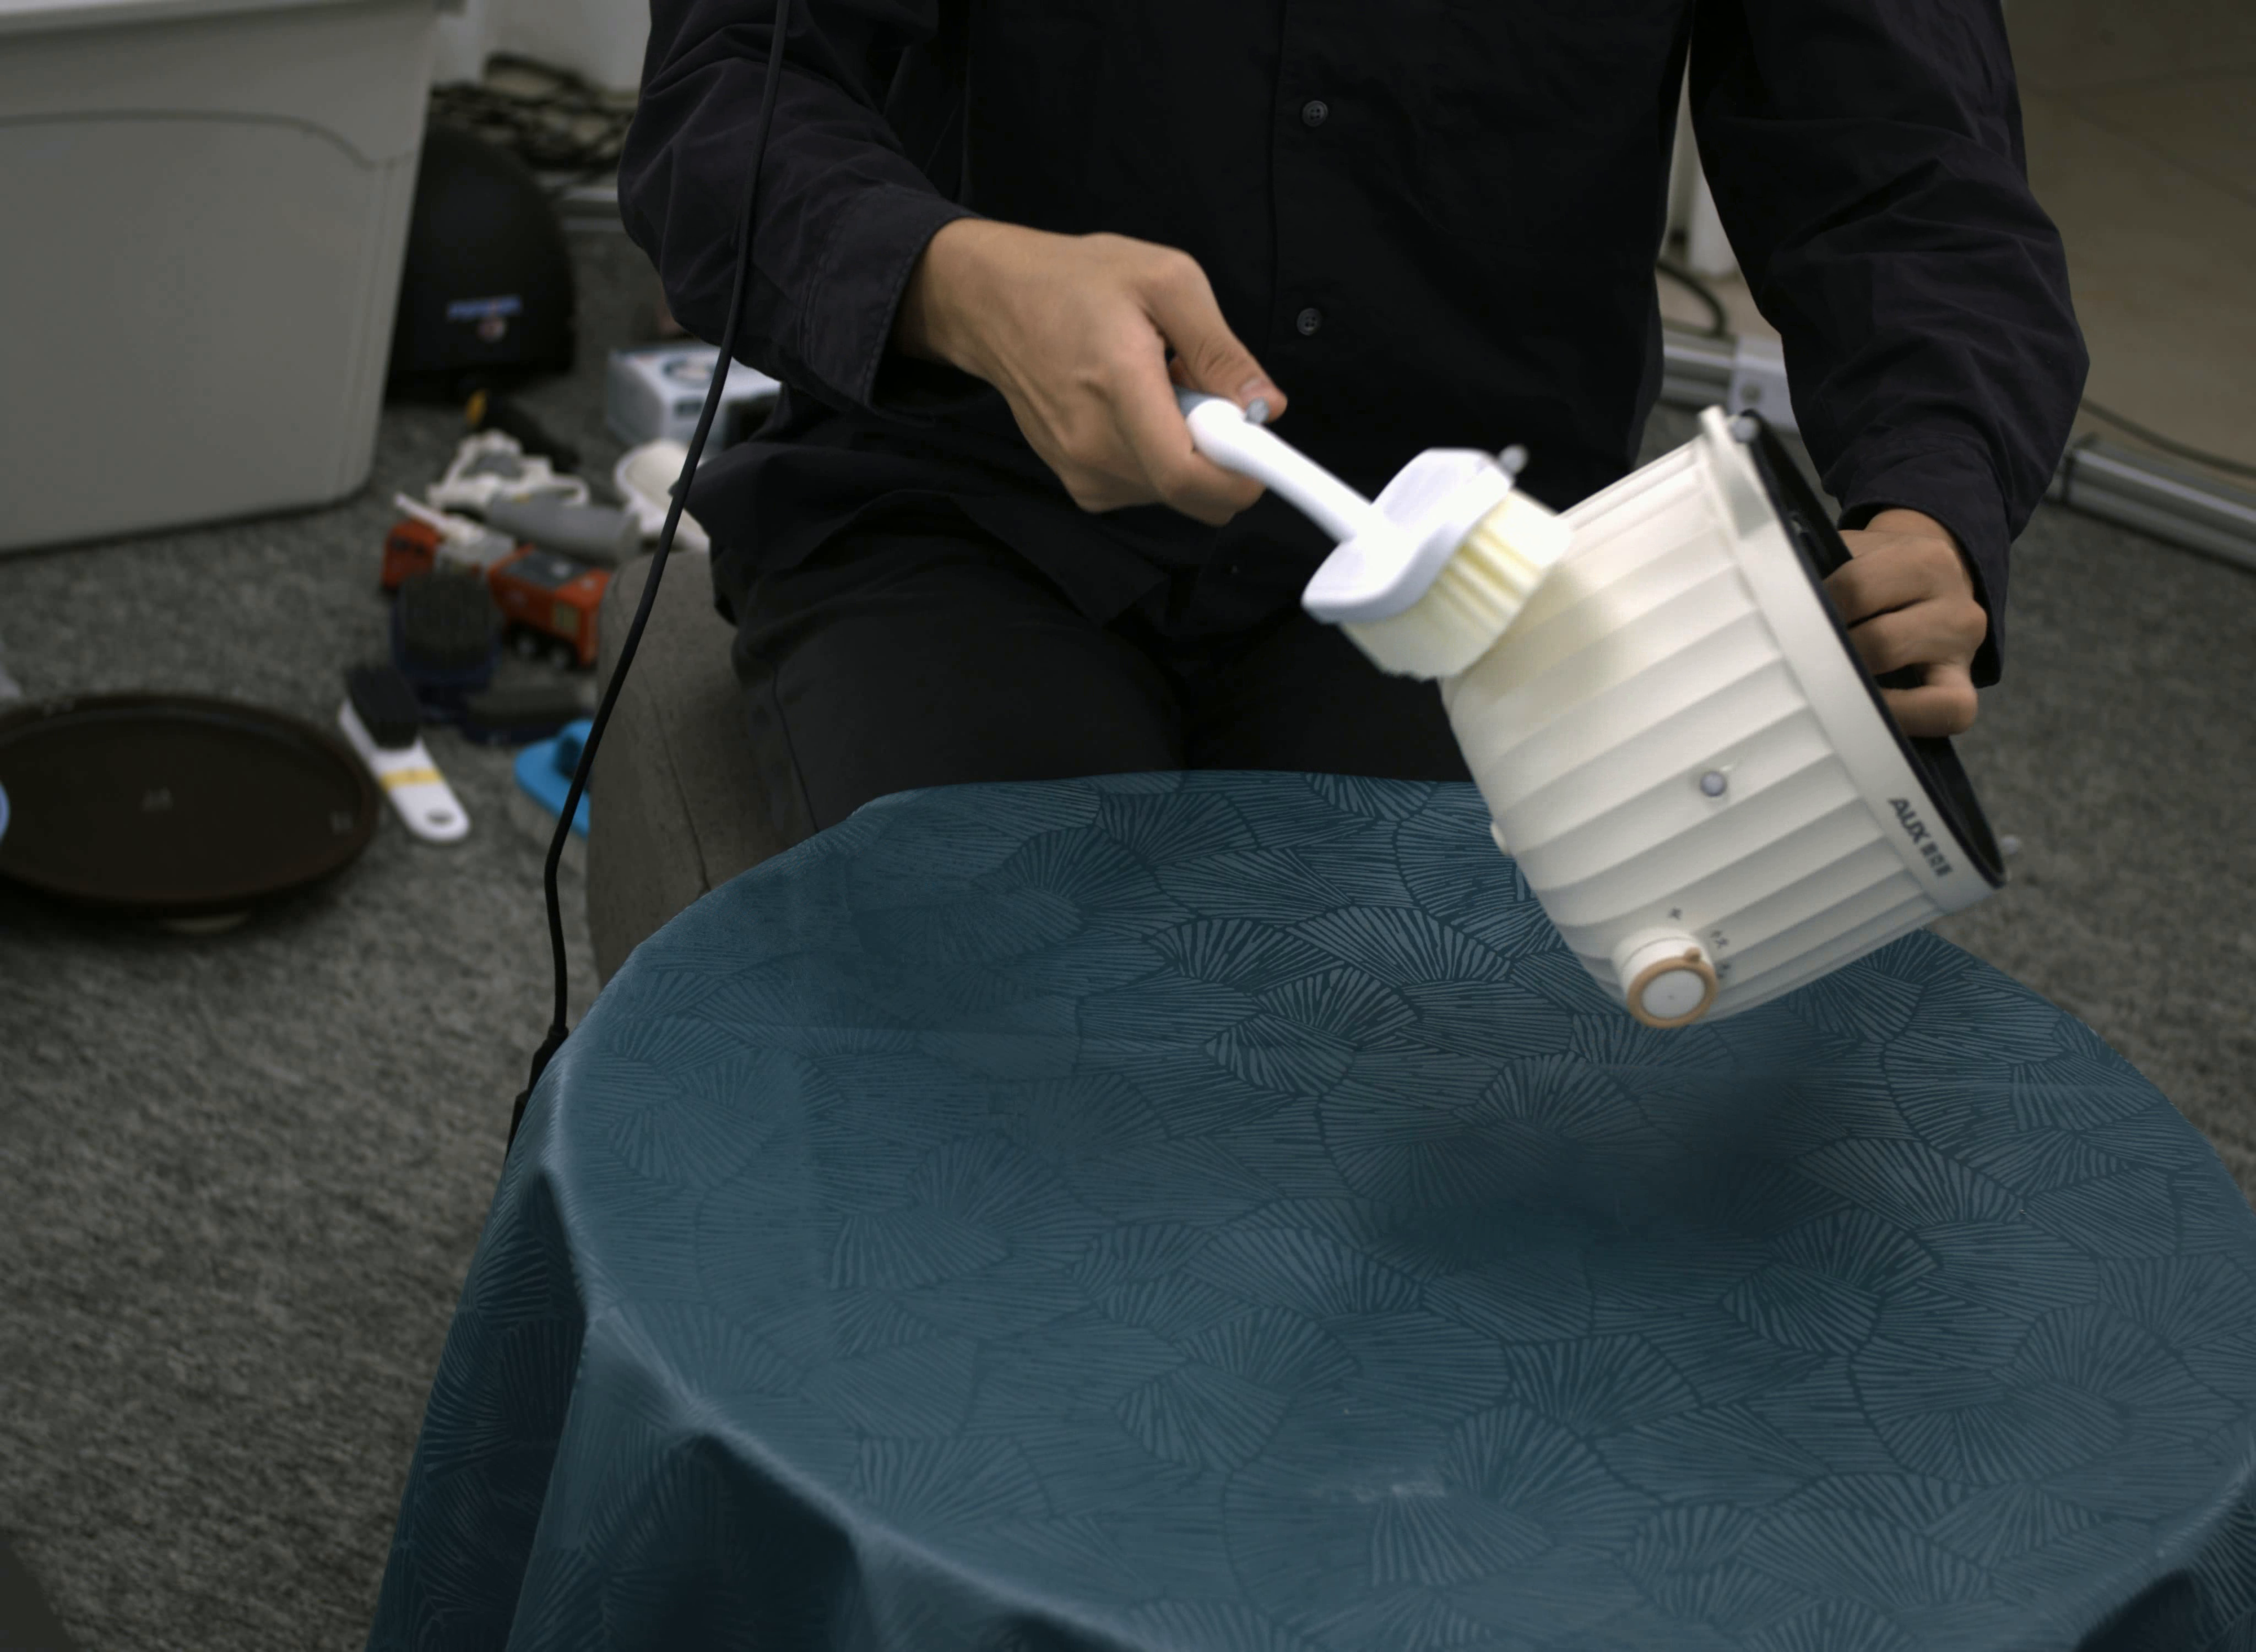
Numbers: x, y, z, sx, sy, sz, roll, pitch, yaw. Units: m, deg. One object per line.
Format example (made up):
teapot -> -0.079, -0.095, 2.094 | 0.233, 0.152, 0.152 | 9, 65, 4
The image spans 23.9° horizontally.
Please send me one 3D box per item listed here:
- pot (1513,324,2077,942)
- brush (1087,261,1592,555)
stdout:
pot -> 0.221, -0.054, 1.806 | 0.142, 0.238, 0.192 | -31, 41, 11
brush -> 0.079, -0.145, 1.823 | 0.082, 0.084, 0.327 | -15, 16, -18
